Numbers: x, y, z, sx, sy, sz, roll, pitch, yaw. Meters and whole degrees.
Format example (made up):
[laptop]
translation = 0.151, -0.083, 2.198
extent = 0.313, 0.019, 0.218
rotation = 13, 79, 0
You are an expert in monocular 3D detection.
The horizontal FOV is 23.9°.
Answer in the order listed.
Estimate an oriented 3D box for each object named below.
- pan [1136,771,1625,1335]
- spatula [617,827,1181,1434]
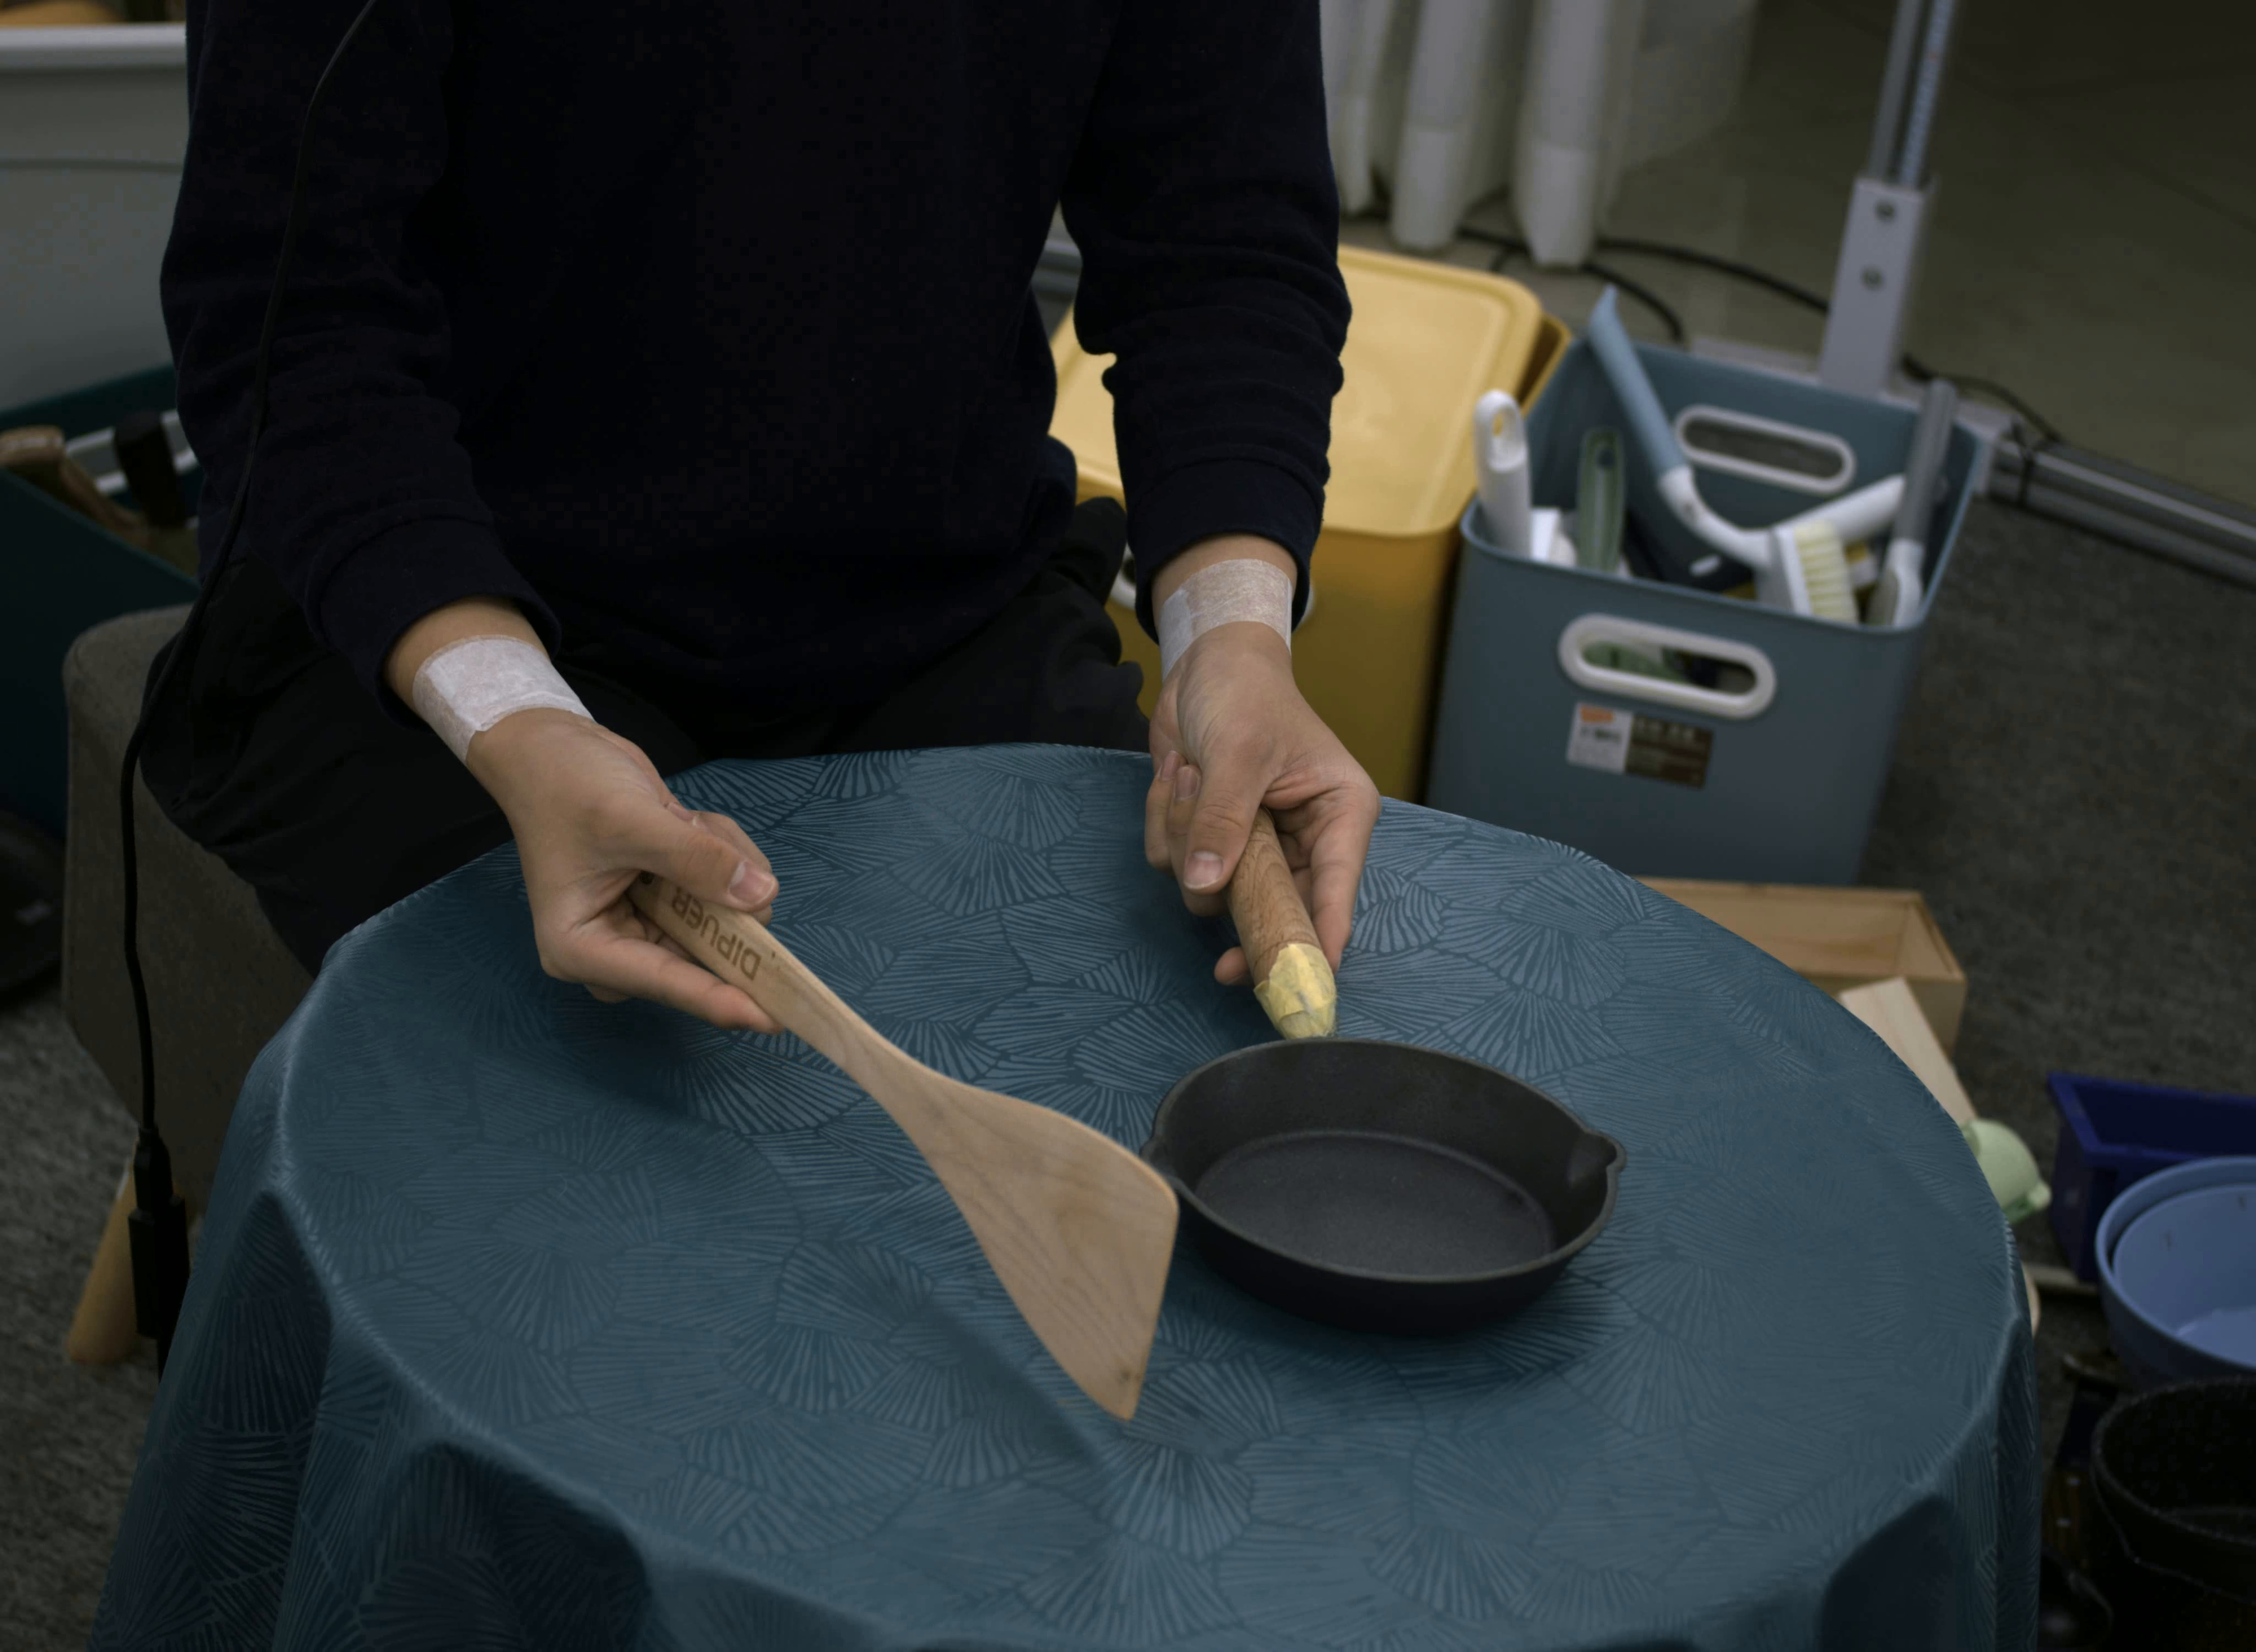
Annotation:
[pan]
translation = 0.069, 0.076, 1.855
extent = 0.168, 0.049, 0.327
rotation = 0, 29, -12
[spatula]
translation = -0.081, 0.082, 1.745
extent = 0.016, 0.080, 0.330
rotation = 0, 27, -42
